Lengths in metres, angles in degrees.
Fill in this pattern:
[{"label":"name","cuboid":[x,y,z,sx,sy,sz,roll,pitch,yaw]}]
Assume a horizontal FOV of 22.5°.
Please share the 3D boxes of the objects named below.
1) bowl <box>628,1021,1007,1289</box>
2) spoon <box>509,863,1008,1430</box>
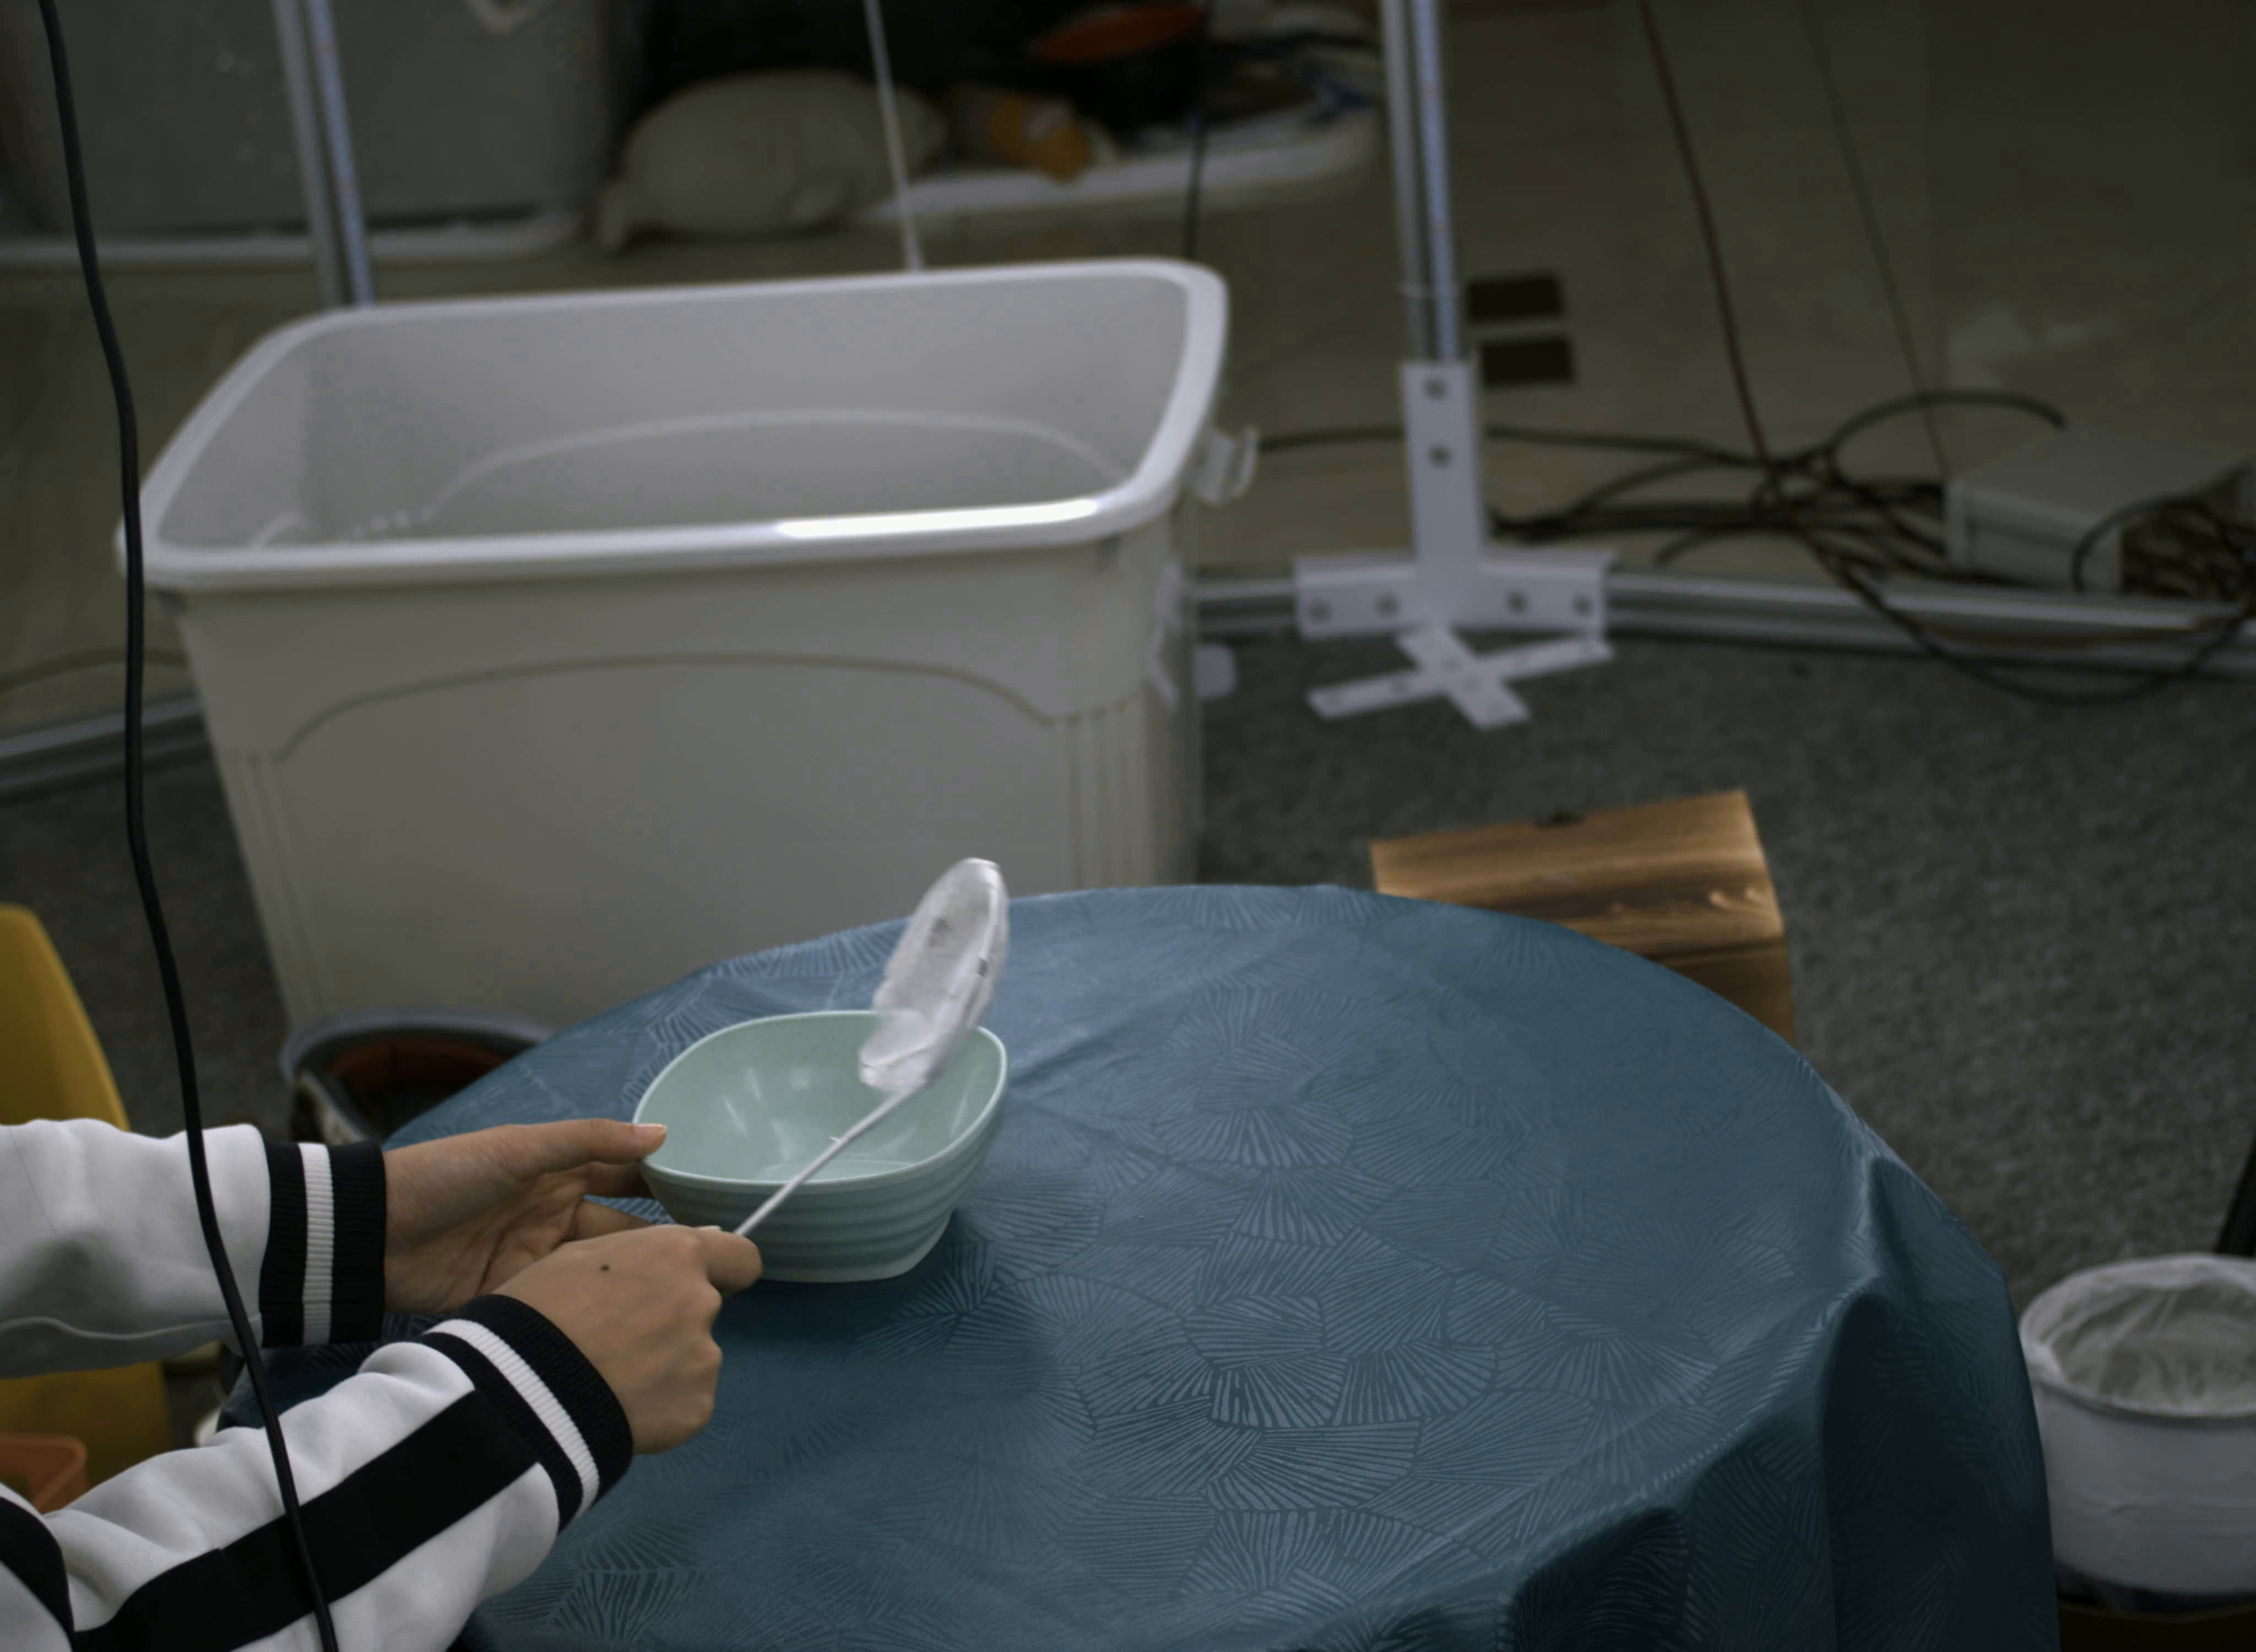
[{"label":"bowl","cuboid":[-0.113,0.129,2.134,0.151,0.059,0.149,-5,25,3]},{"label":"spoon","cuboid":[-0.133,0.110,1.965,0.274,0.059,0.102,-38,-4,-33]}]
